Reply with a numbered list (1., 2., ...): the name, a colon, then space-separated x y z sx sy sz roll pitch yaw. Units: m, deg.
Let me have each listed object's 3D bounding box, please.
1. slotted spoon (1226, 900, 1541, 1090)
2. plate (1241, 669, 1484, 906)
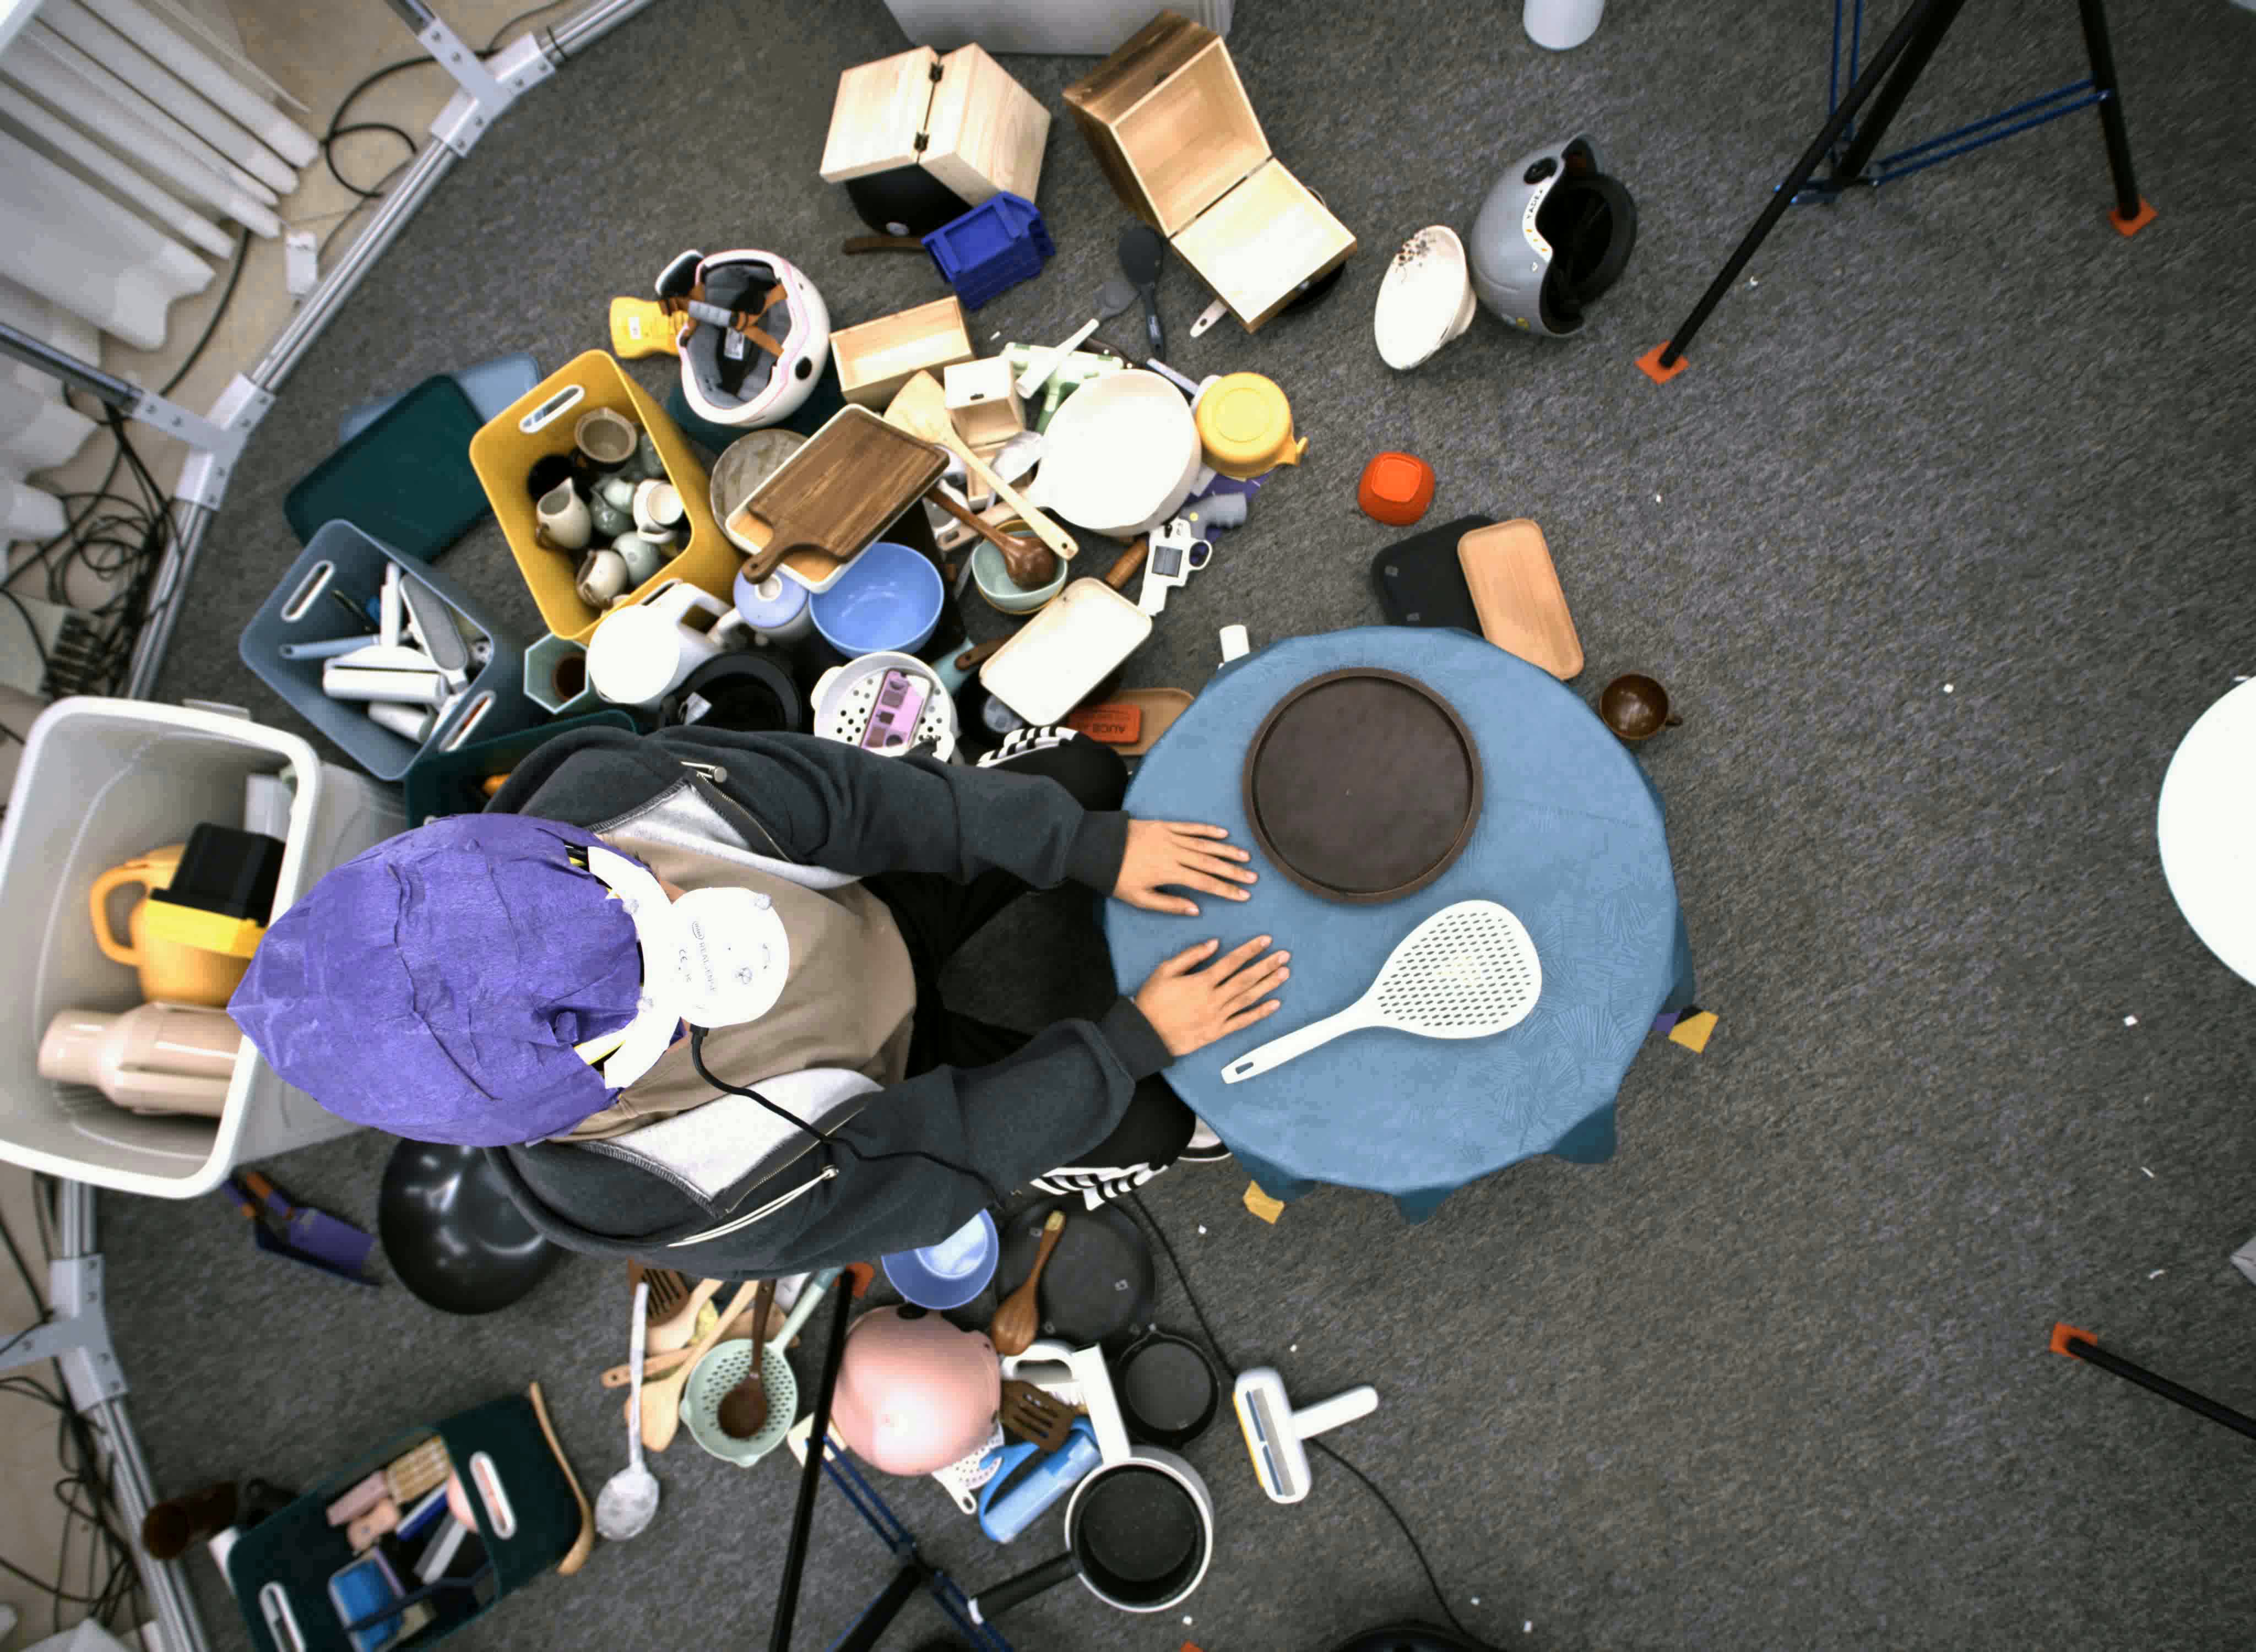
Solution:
1. slotted spoon: 0.255 0.191 1.434 0.350 0.050 0.136 -25 84 8
2. plate: 0.247 -0.043 1.458 0.256 0.029 0.254 -1 88 10
